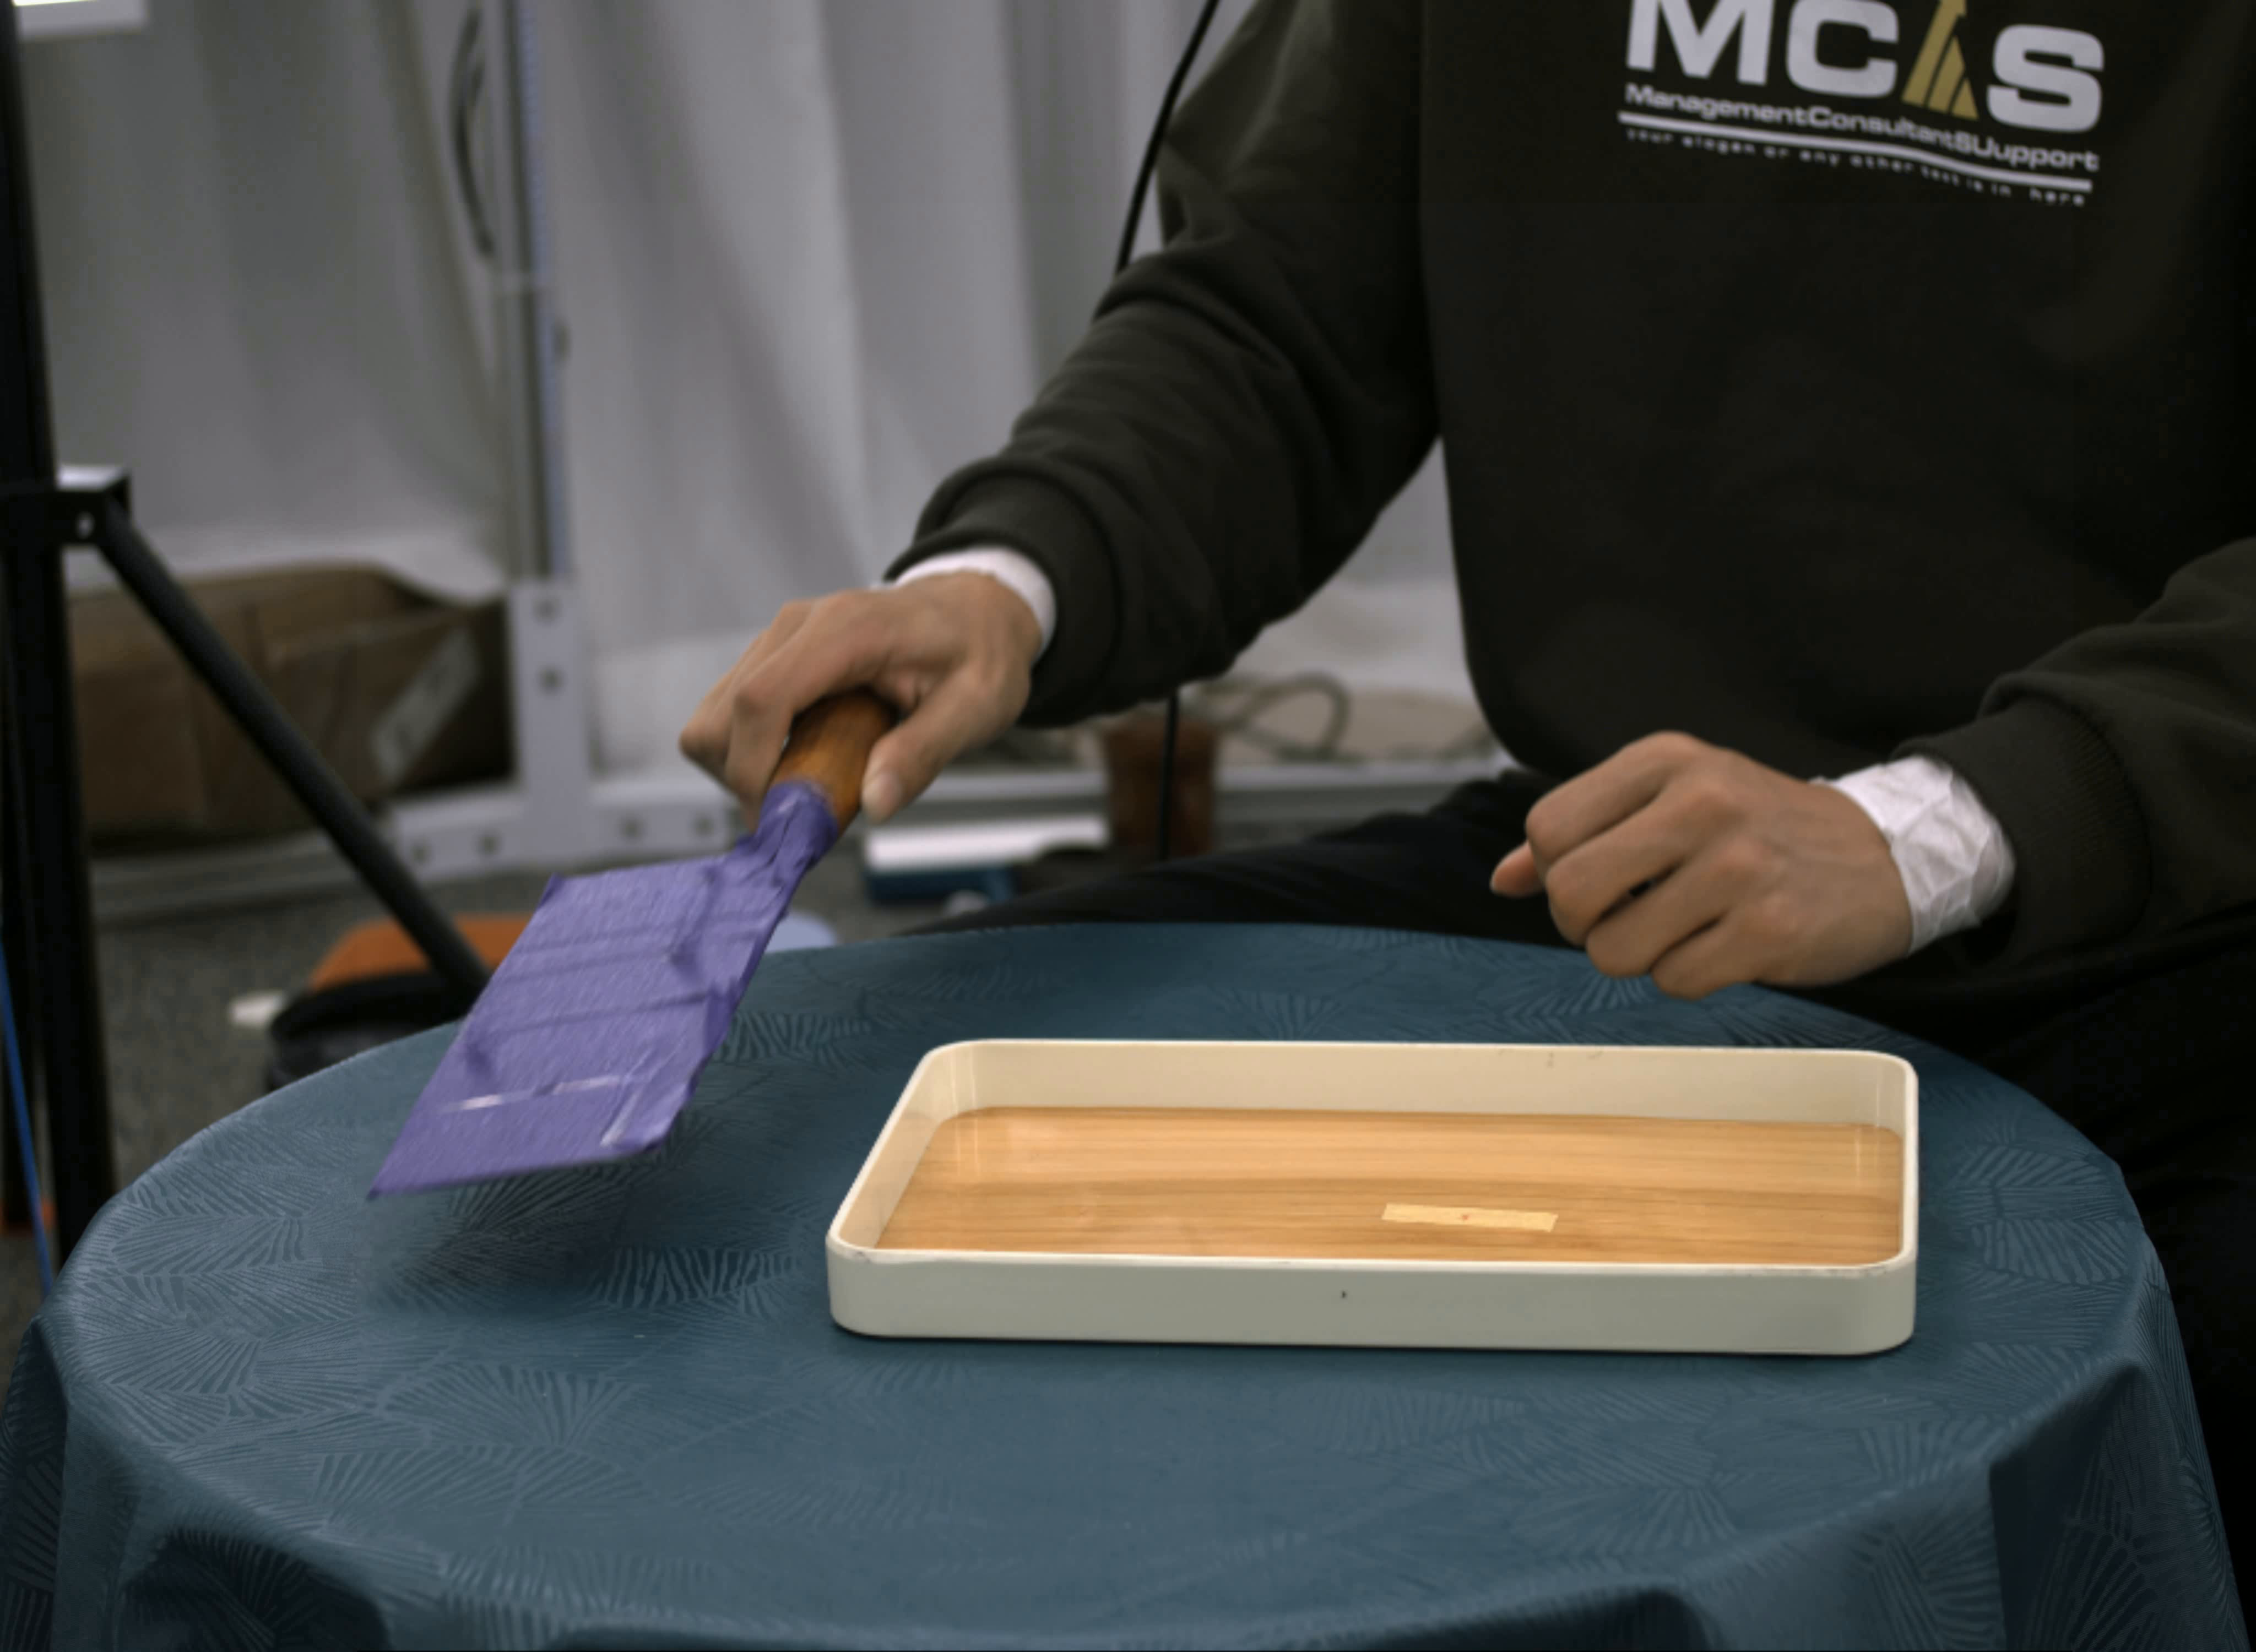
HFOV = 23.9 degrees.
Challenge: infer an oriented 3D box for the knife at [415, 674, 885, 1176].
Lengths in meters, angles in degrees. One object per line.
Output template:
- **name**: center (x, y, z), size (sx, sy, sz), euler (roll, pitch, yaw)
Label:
- **knife**: center (-0.145, 0.026, 1.629), size (0.104, 0.032, 0.315), euler (-9, 20, 13)

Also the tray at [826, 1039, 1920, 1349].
- **tray**: center (0.075, 0.104, 1.515), size (0.301, 0.027, 0.191), euler (0, 16, 10)
